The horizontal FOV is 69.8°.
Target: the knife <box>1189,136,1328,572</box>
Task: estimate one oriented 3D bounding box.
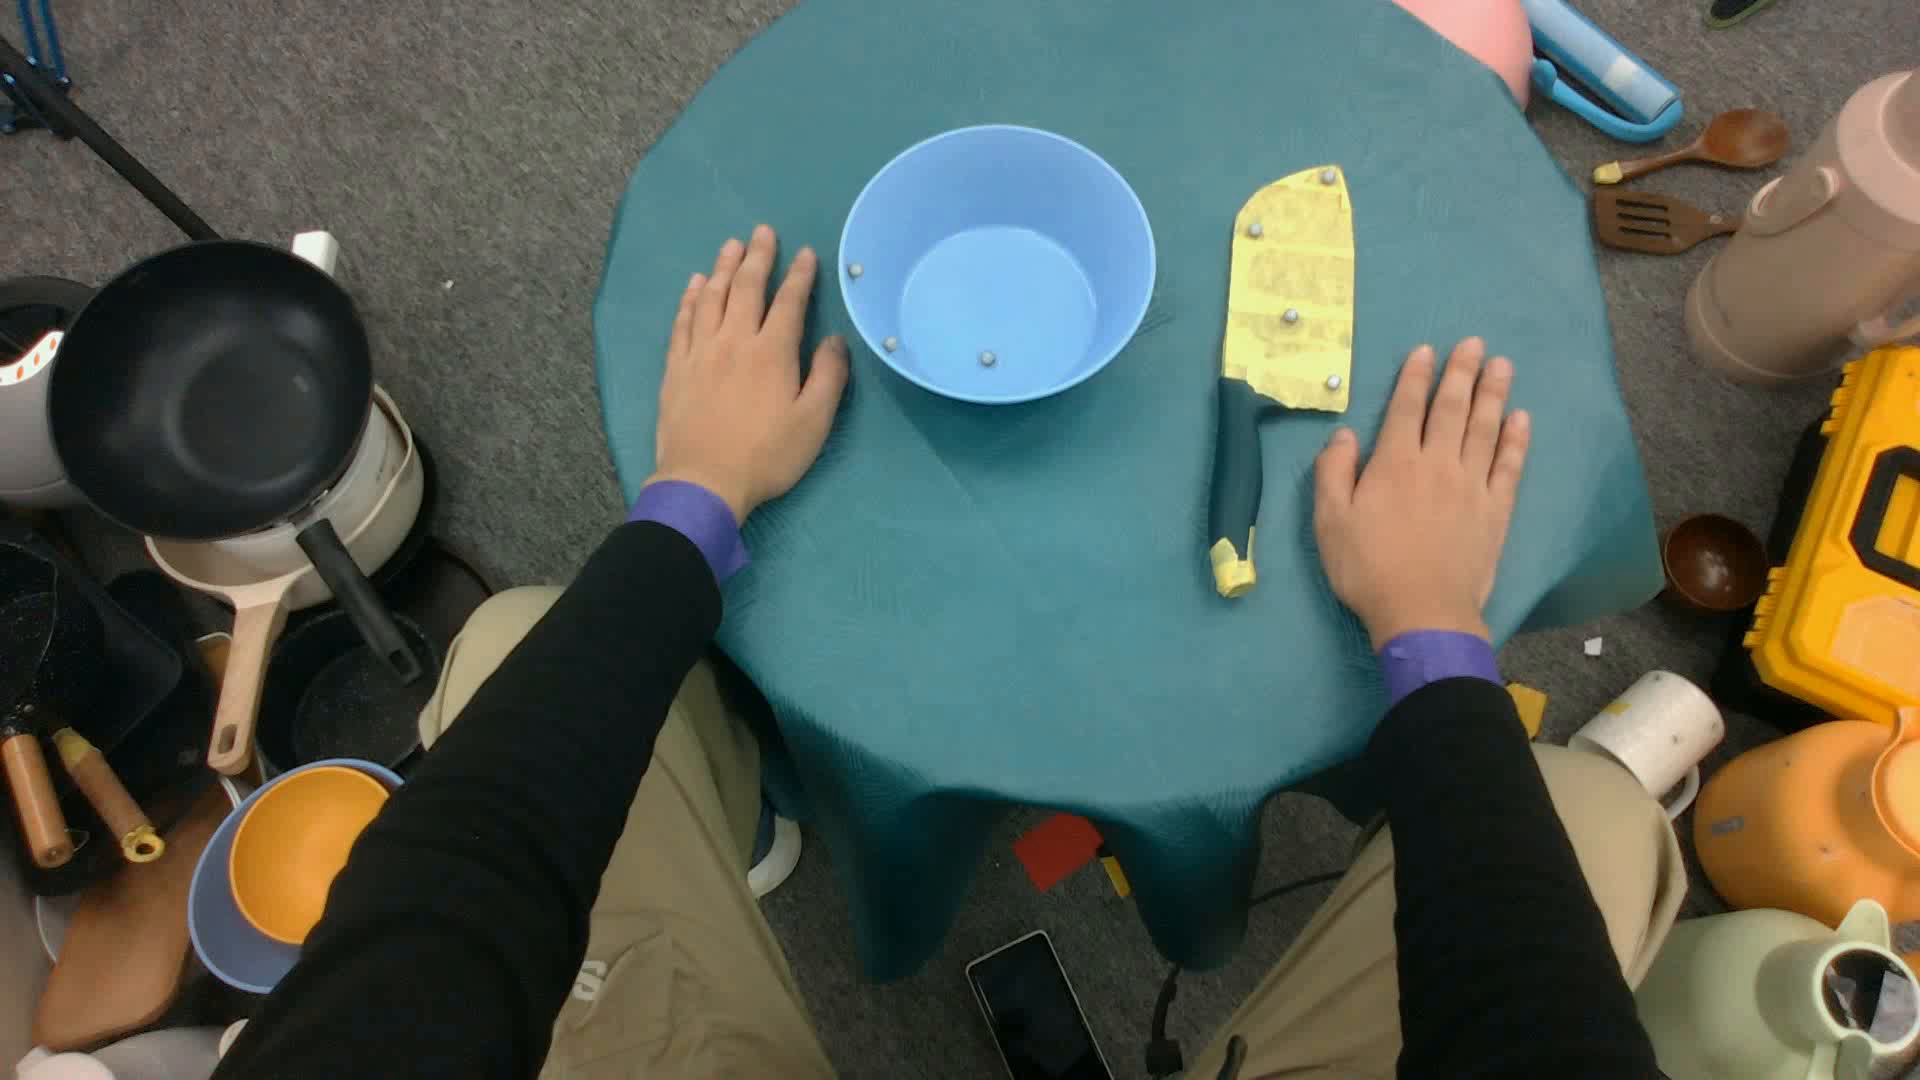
[{"bbox_3d":[0.172,-0.115,0.798,0.081,0.027,0.290,9,70,5],"label":"knife"}]

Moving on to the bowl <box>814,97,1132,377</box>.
[{"bbox_3d":[0.008,-0.160,0.787,0.176,0.070,0.176,0,70,0],"label":"bowl"}]
